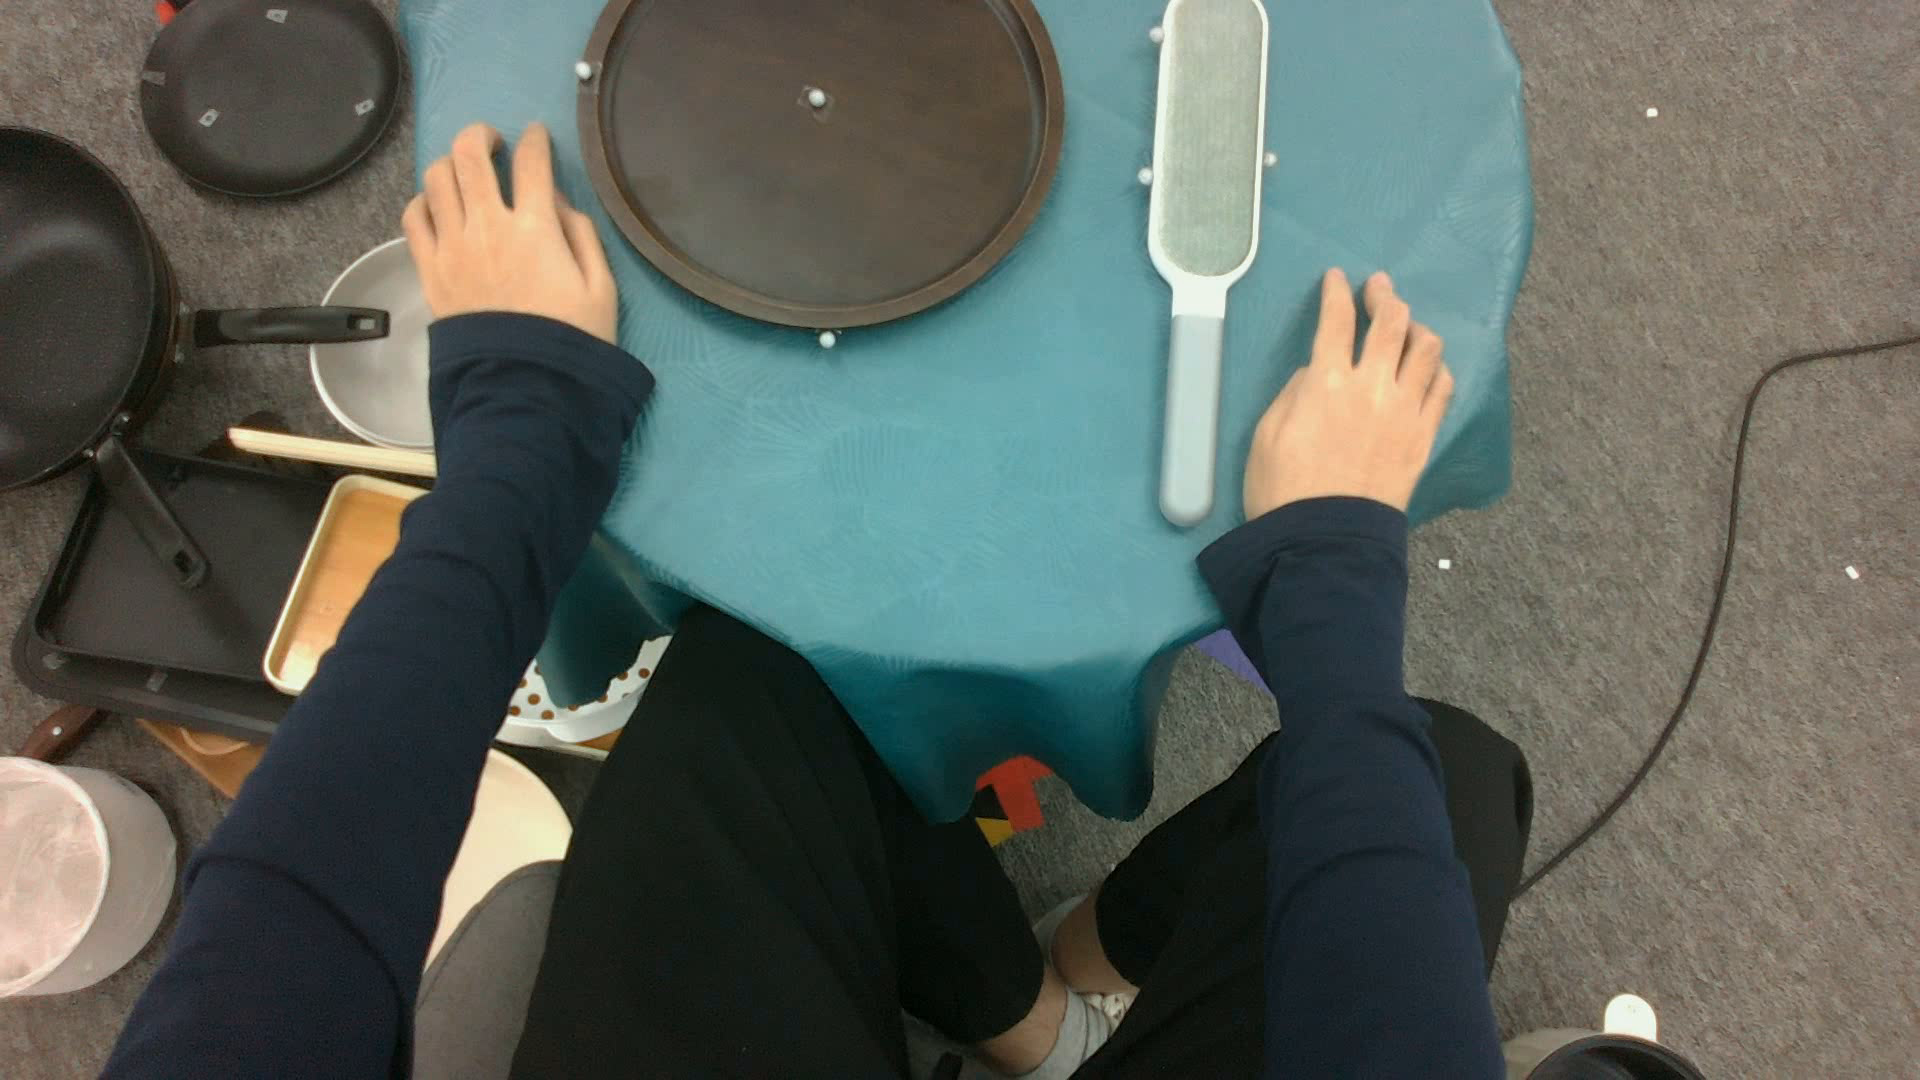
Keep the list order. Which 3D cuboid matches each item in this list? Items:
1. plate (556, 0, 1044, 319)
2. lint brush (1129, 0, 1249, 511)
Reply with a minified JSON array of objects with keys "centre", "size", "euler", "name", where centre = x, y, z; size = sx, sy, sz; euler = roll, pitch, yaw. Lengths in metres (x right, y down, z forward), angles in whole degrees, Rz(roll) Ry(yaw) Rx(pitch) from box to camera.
[{"centre":[-0.082,-0.232,0.725],"size":[0.255,0.029,0.255],"euler":[1,75,-2],"name":"plate"},{"centre":[0.116,-0.164,0.720],"size":[0.060,0.021,0.309],"euler":[8,75,-7],"name":"lint brush"}]
